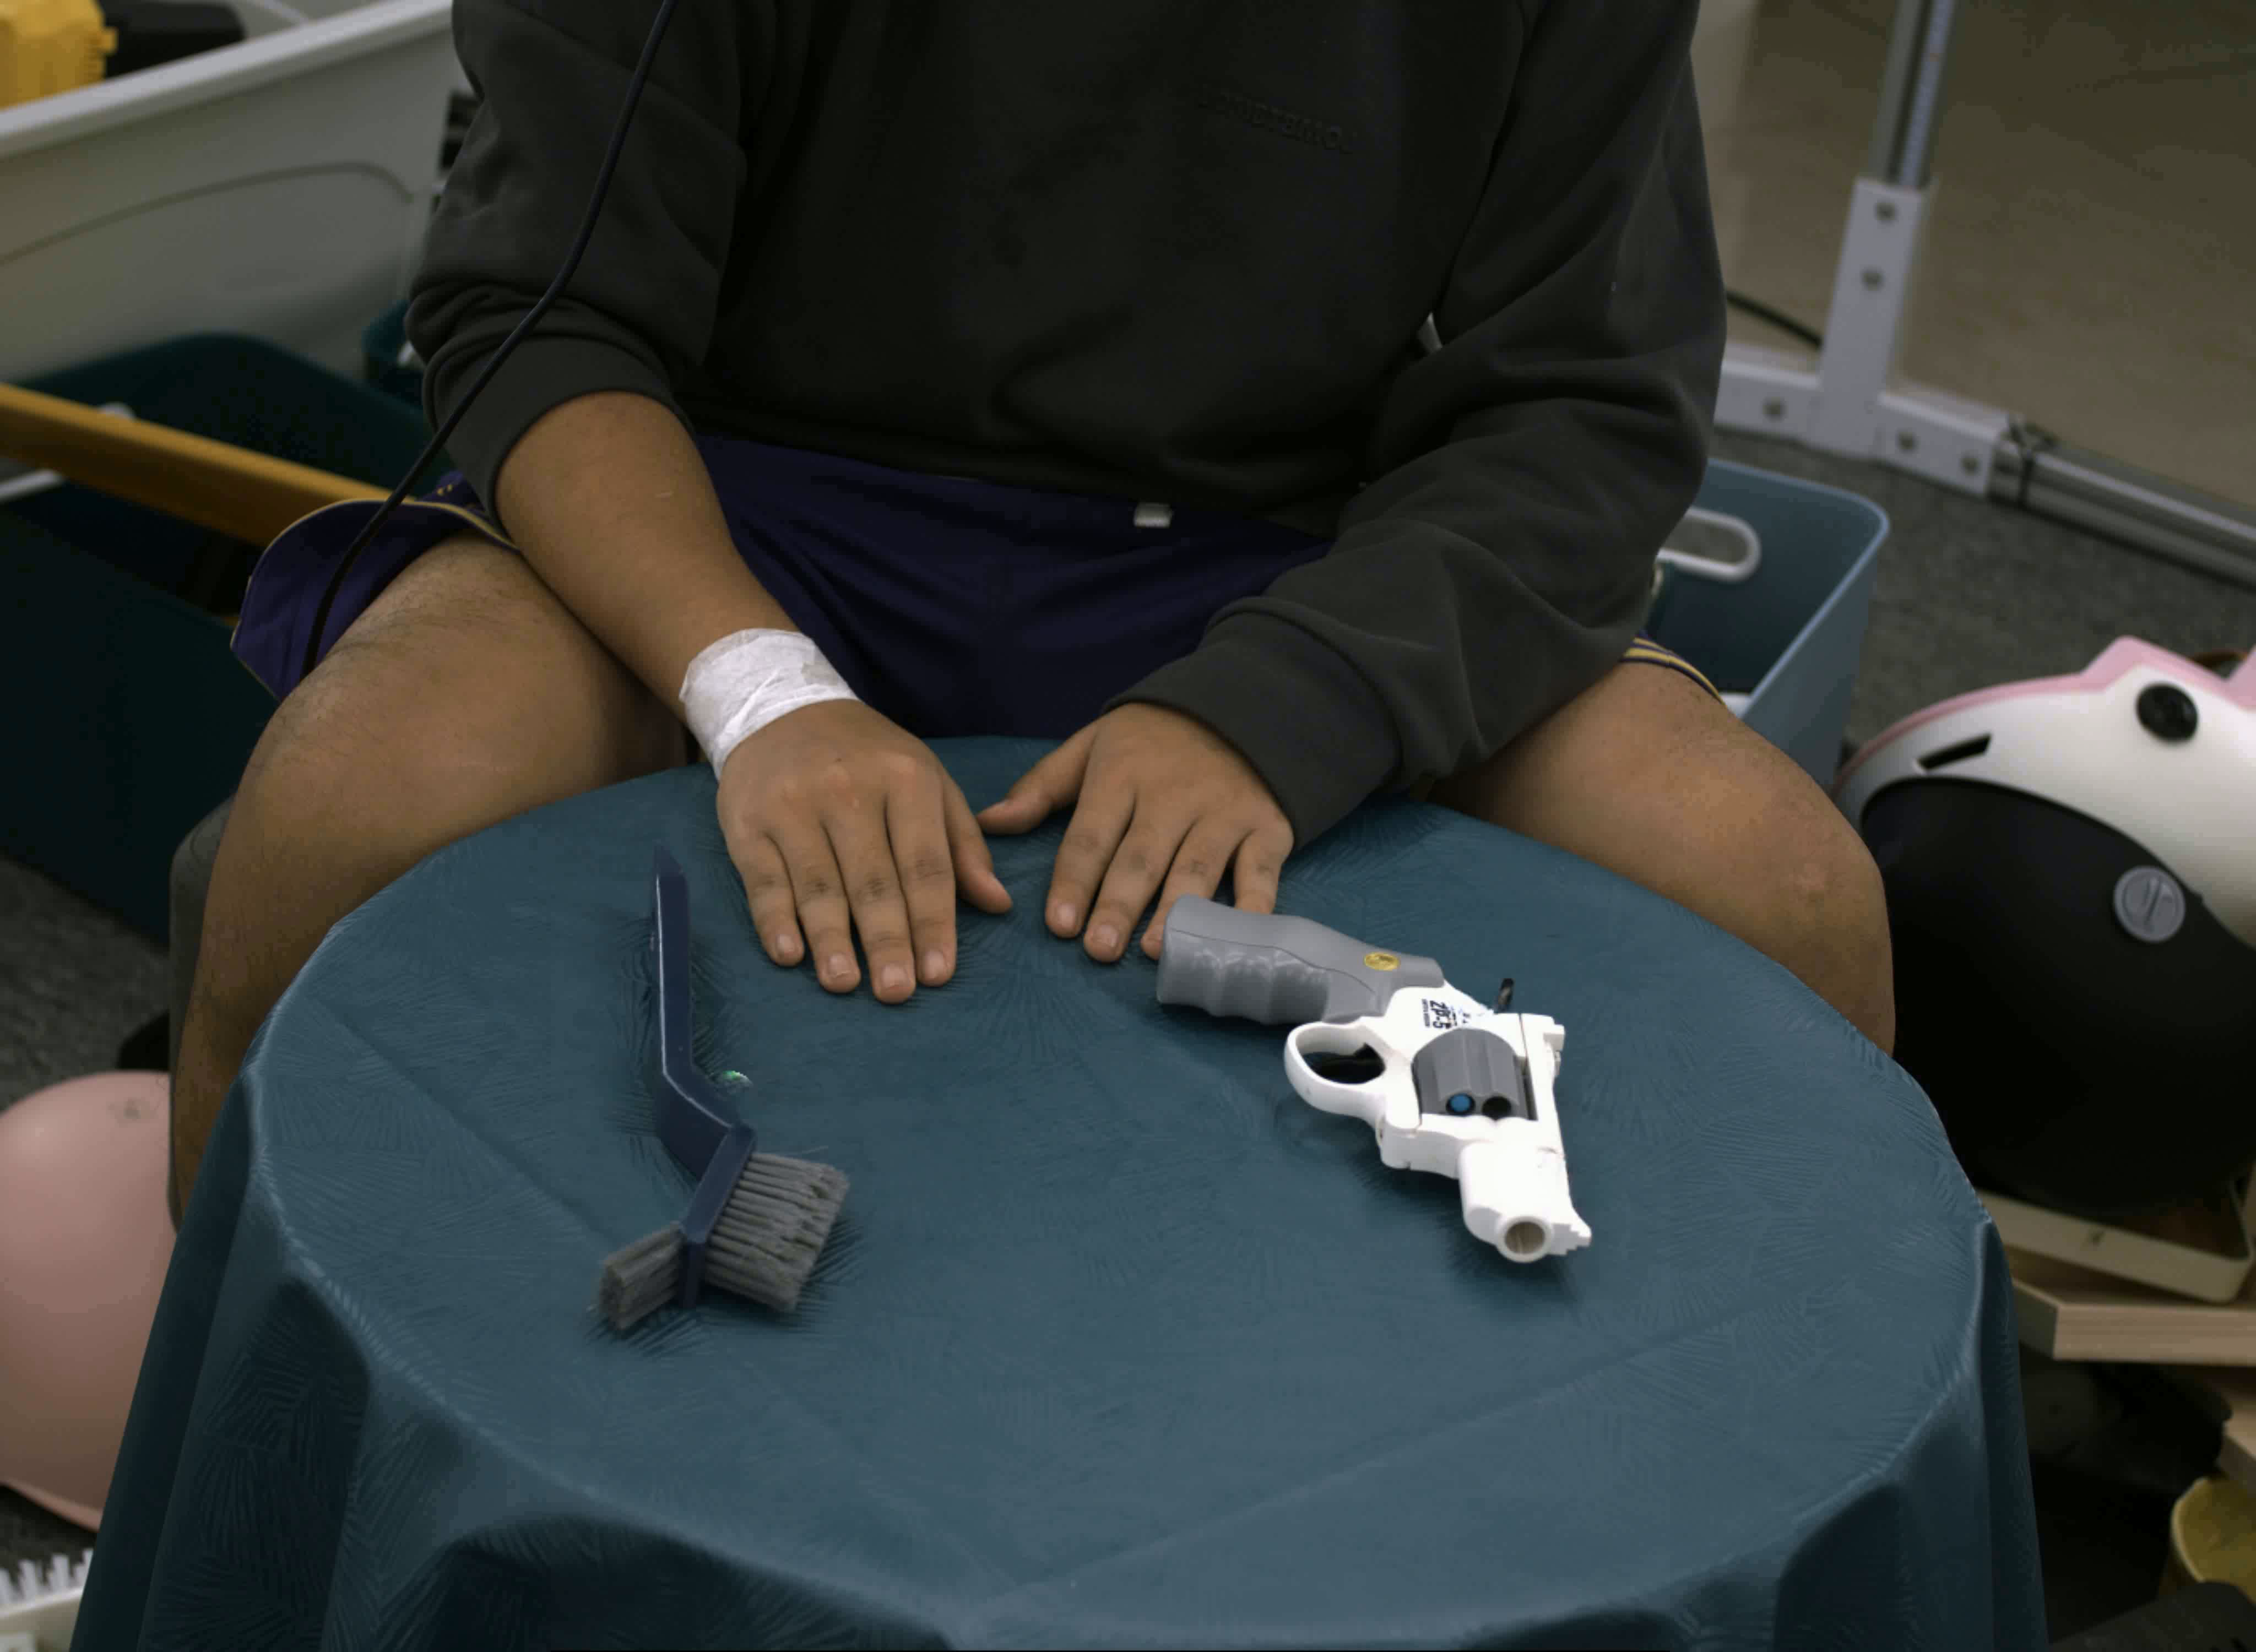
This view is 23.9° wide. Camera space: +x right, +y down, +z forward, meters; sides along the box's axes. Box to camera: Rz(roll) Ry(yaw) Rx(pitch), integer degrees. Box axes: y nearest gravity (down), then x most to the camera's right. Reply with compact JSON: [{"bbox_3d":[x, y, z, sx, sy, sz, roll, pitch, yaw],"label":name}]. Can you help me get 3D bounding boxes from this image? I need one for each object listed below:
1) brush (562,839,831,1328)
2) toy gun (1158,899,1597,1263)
[{"bbox_3d":[-0.160,0.083,1.810,0.095,0.033,0.275,0,28,-14],"label":"brush"},{"bbox_3d":[0.084,0.086,1.852,0.141,0.038,0.210,3,27,-4],"label":"toy gun"}]
